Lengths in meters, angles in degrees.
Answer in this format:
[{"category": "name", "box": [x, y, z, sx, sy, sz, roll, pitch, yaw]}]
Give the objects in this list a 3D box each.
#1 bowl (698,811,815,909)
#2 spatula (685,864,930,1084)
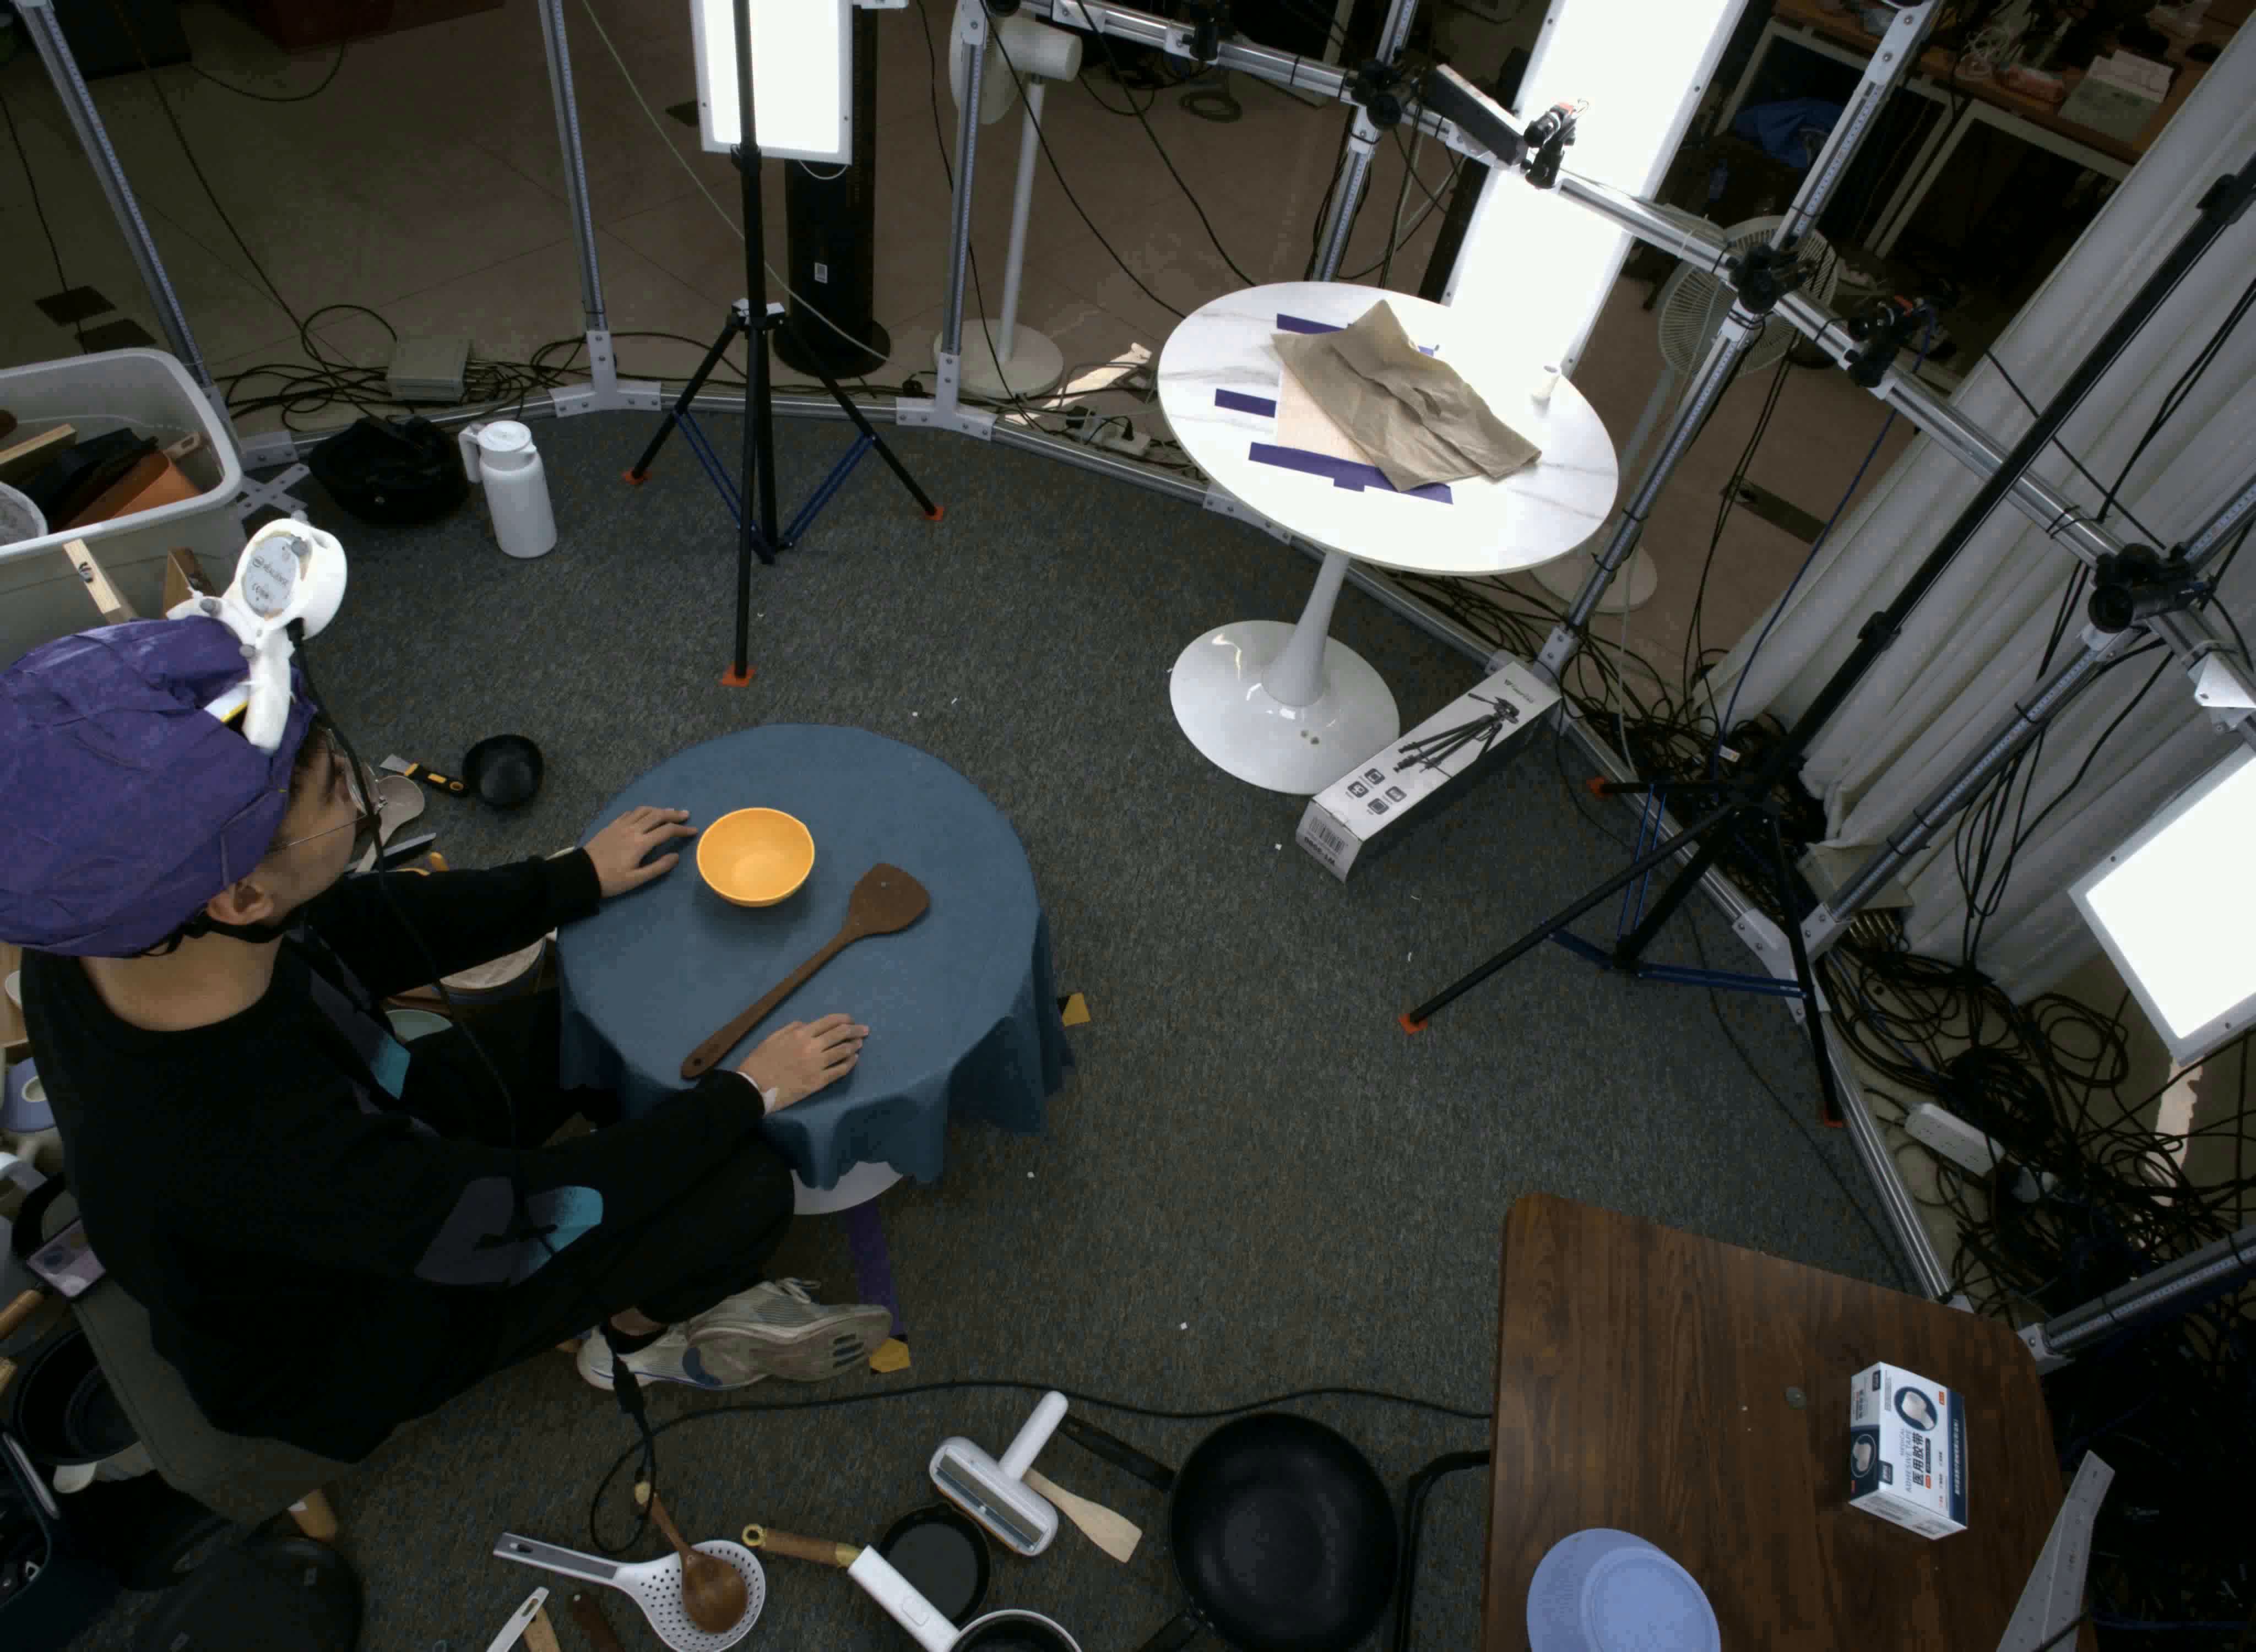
[{"category": "bowl", "box": [-0.469, 0.052, 1.643, 0.144, 0.061, 0.142, 6, 51, -6]}, {"category": "spatula", "box": [-0.396, 0.178, 1.595, 0.094, 0.016, 0.386, 36, 54, 14]}]
